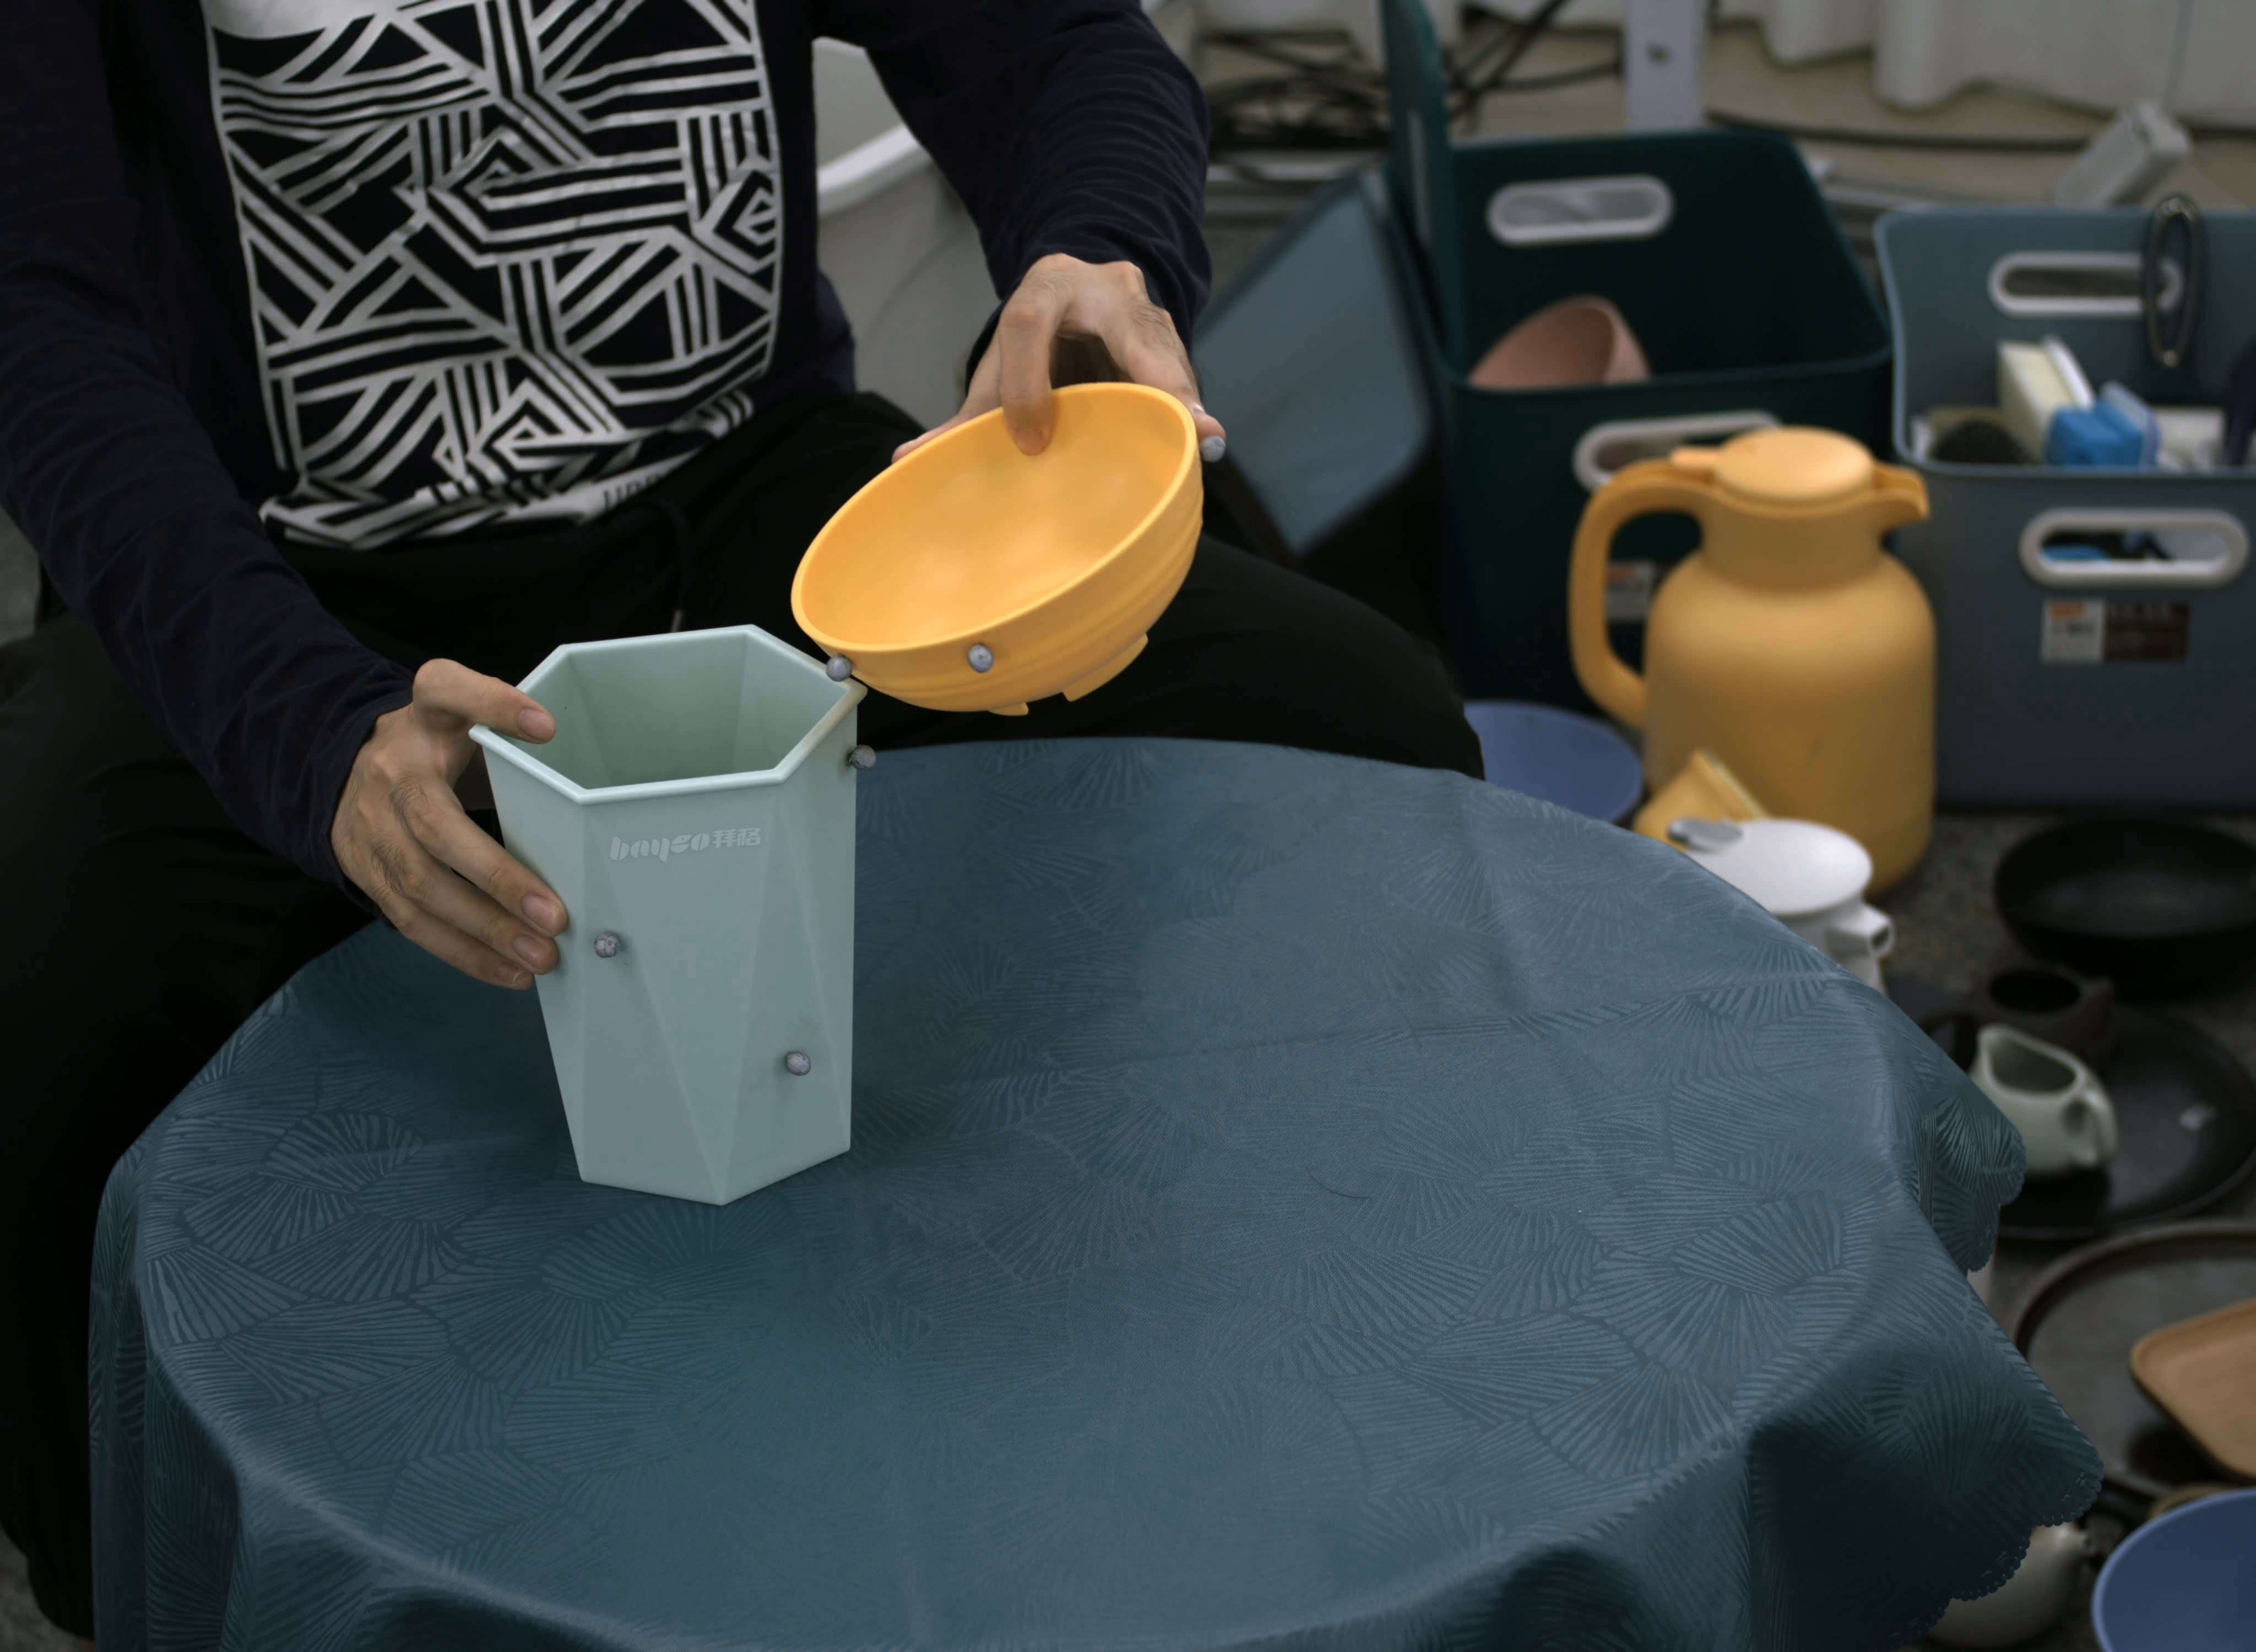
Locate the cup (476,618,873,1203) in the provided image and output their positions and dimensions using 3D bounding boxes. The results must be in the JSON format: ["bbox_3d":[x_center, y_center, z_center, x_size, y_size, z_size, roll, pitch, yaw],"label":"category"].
[{"bbox_3d":[-0.144,0.031,1.871,0.131,0.161,0.116,-6,26,-7],"label":"cup"}]

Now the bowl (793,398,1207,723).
[{"bbox_3d":[-0.032,-0.077,1.839,0.144,0.059,0.147,-20,27,11],"label":"bowl"}]
